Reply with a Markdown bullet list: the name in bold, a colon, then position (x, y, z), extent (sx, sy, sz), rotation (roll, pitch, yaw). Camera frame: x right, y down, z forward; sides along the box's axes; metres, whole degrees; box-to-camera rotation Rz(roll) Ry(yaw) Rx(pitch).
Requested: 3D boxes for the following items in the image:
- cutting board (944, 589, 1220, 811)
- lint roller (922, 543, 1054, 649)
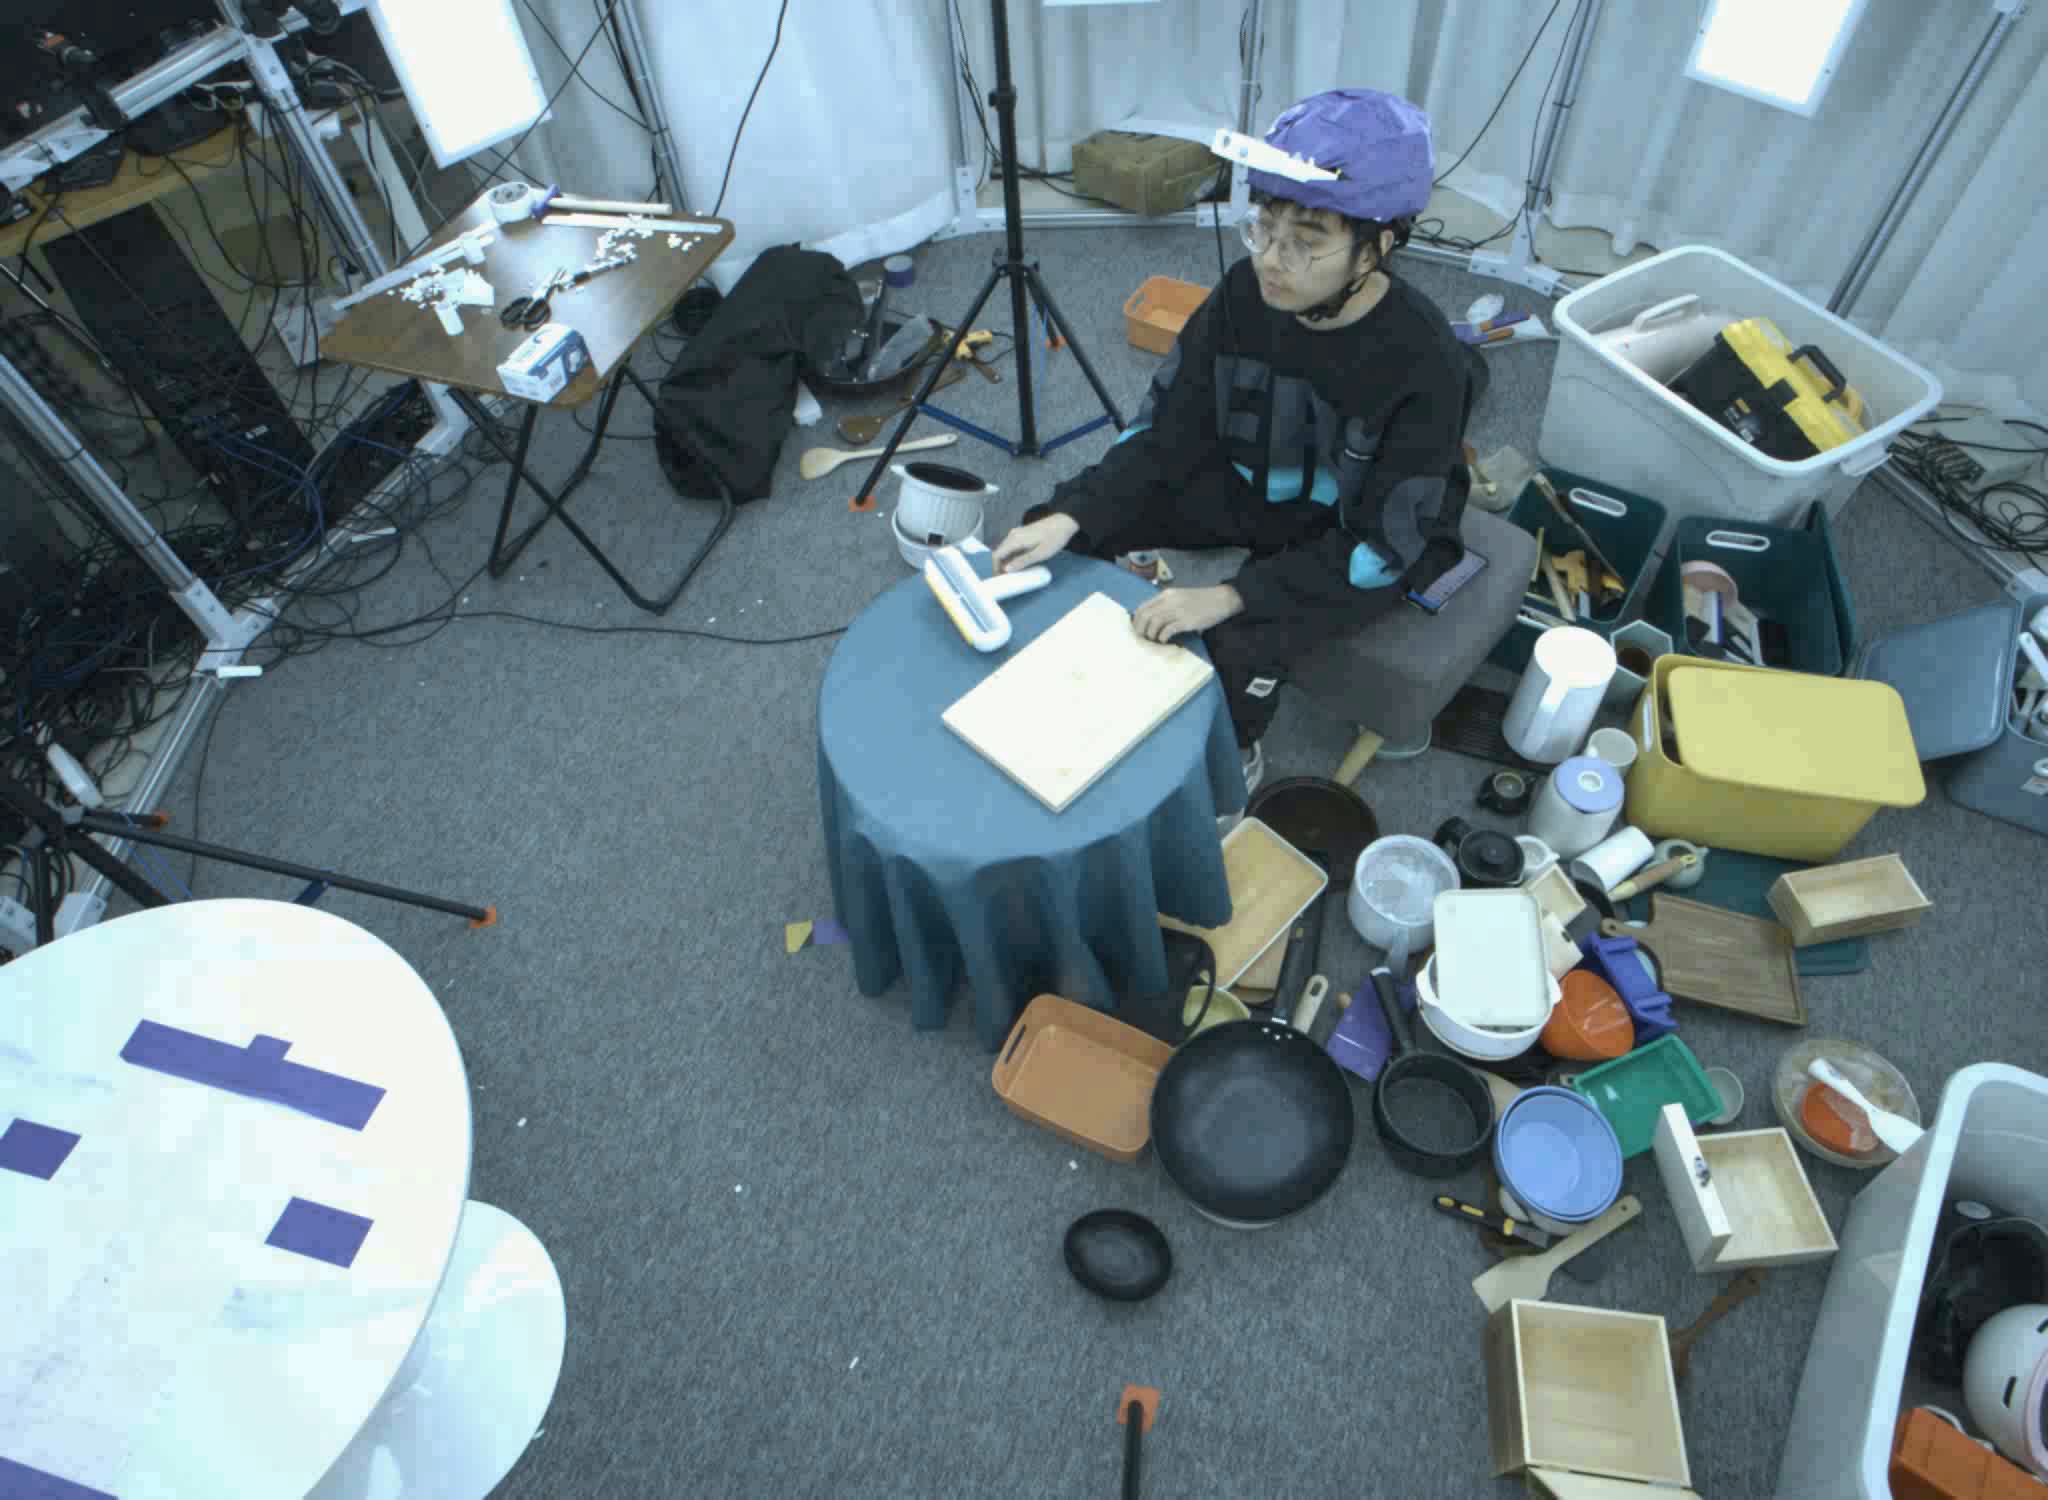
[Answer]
- **cutting board**: position (0.085, -0.084, 1.830), extent (0.246, 0.024, 0.351), rotation (38, 64, 25)
- **lint roller**: position (-0.041, -0.257, 1.926), extent (0.194, 0.075, 0.189), rotation (-24, 62, -16)
